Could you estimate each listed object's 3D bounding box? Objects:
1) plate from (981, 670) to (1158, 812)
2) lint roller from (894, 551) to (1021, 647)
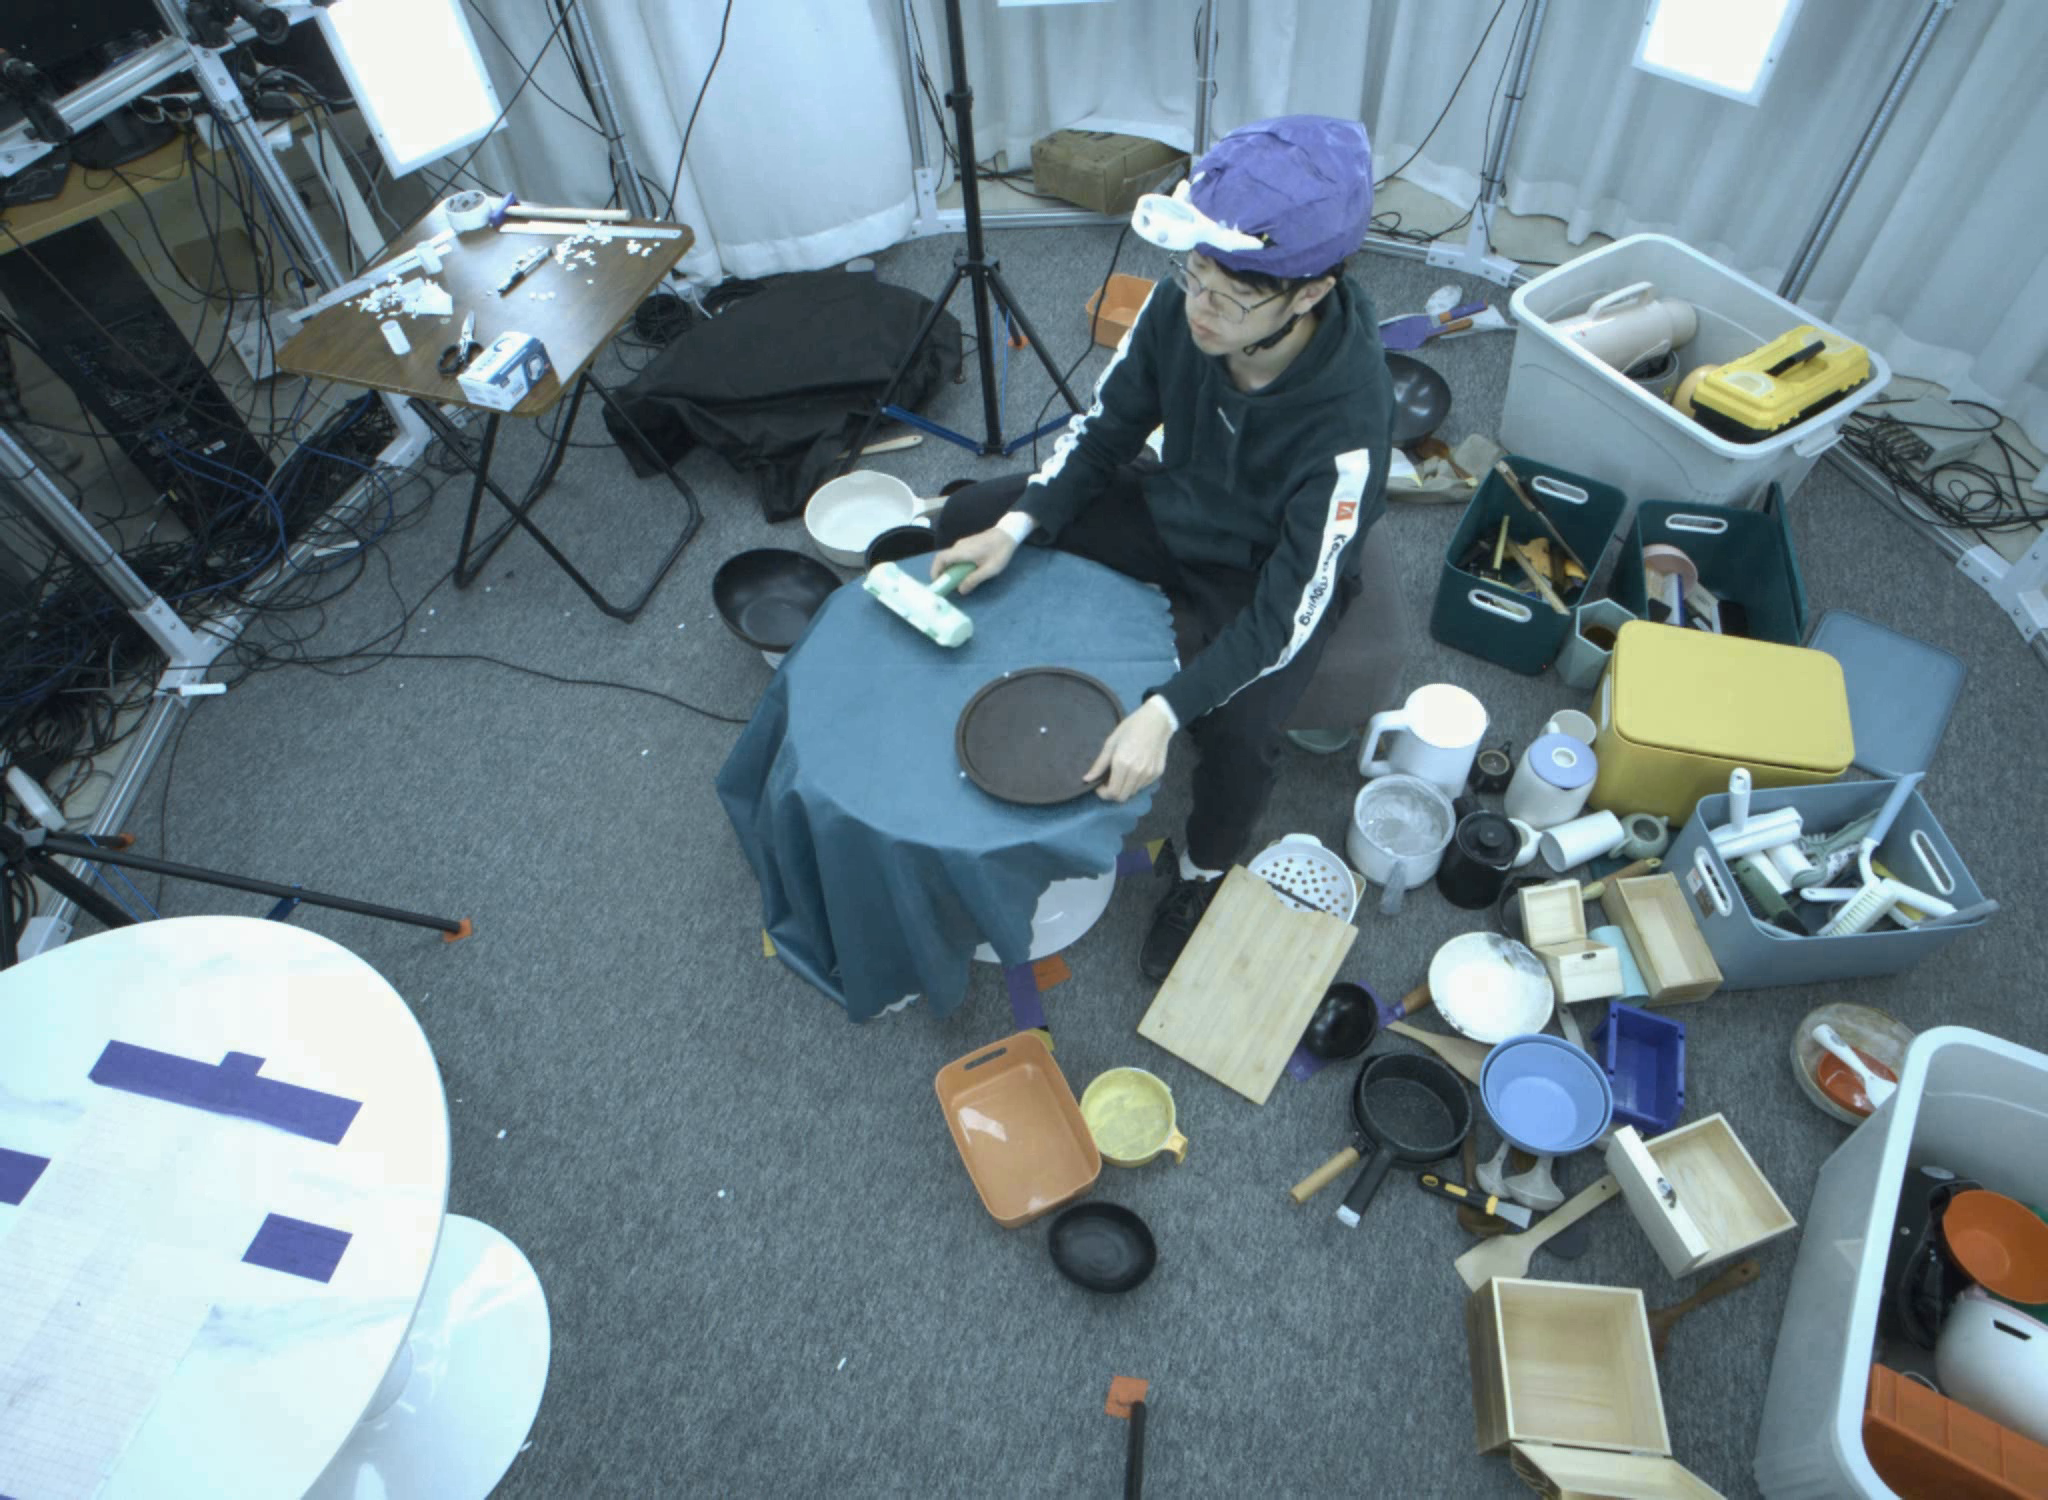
[{"bbox_3d":[0.065,-0.014,1.772,0.254,0.029,0.252,-2,52,3],"label":"plate"},{"bbox_3d":[-0.080,-0.269,1.914,0.184,0.083,0.195,-44,62,-13],"label":"lint roller"}]
